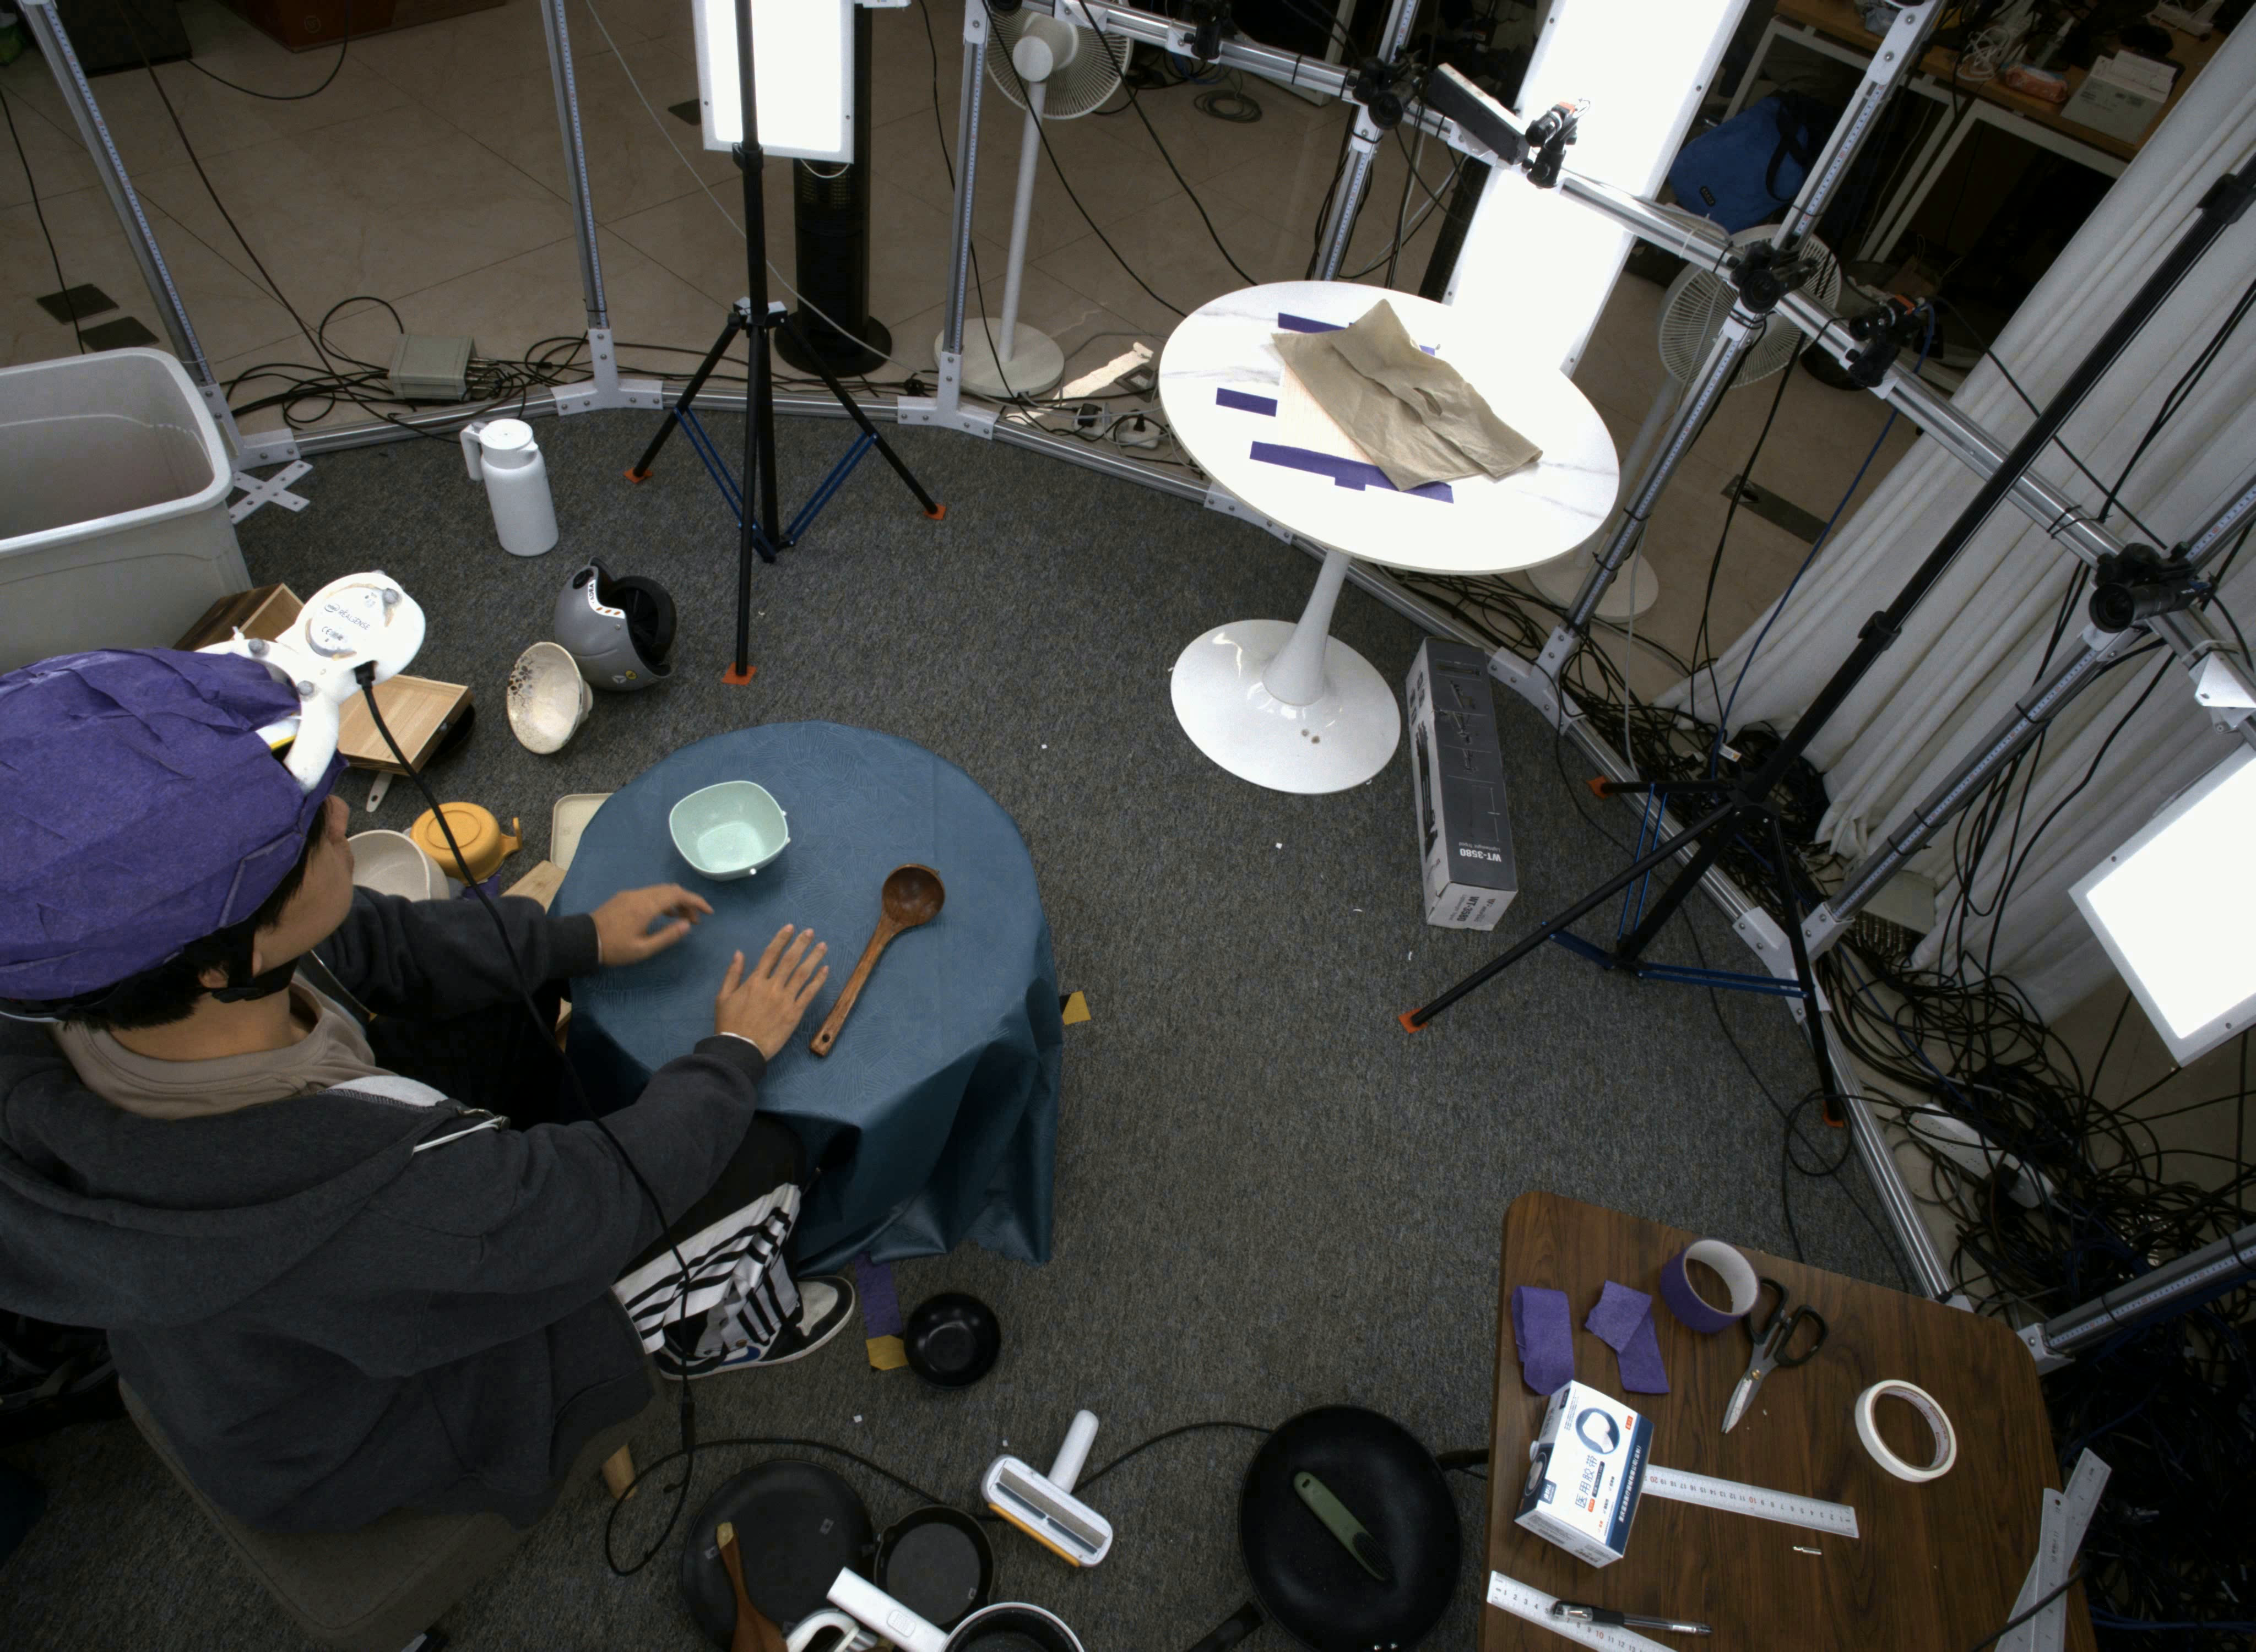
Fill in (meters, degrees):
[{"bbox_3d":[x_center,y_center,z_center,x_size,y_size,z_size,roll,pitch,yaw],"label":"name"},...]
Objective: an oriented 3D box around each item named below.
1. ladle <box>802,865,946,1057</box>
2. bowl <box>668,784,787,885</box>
[{"bbox_3d":[-0.309,0.161,1.590,0.083,0.076,0.272,40,48,-16],"label":"ladle"},{"bbox_3d":[-0.512,0.019,1.654,0.151,0.060,0.148,10,50,-10],"label":"bowl"}]
